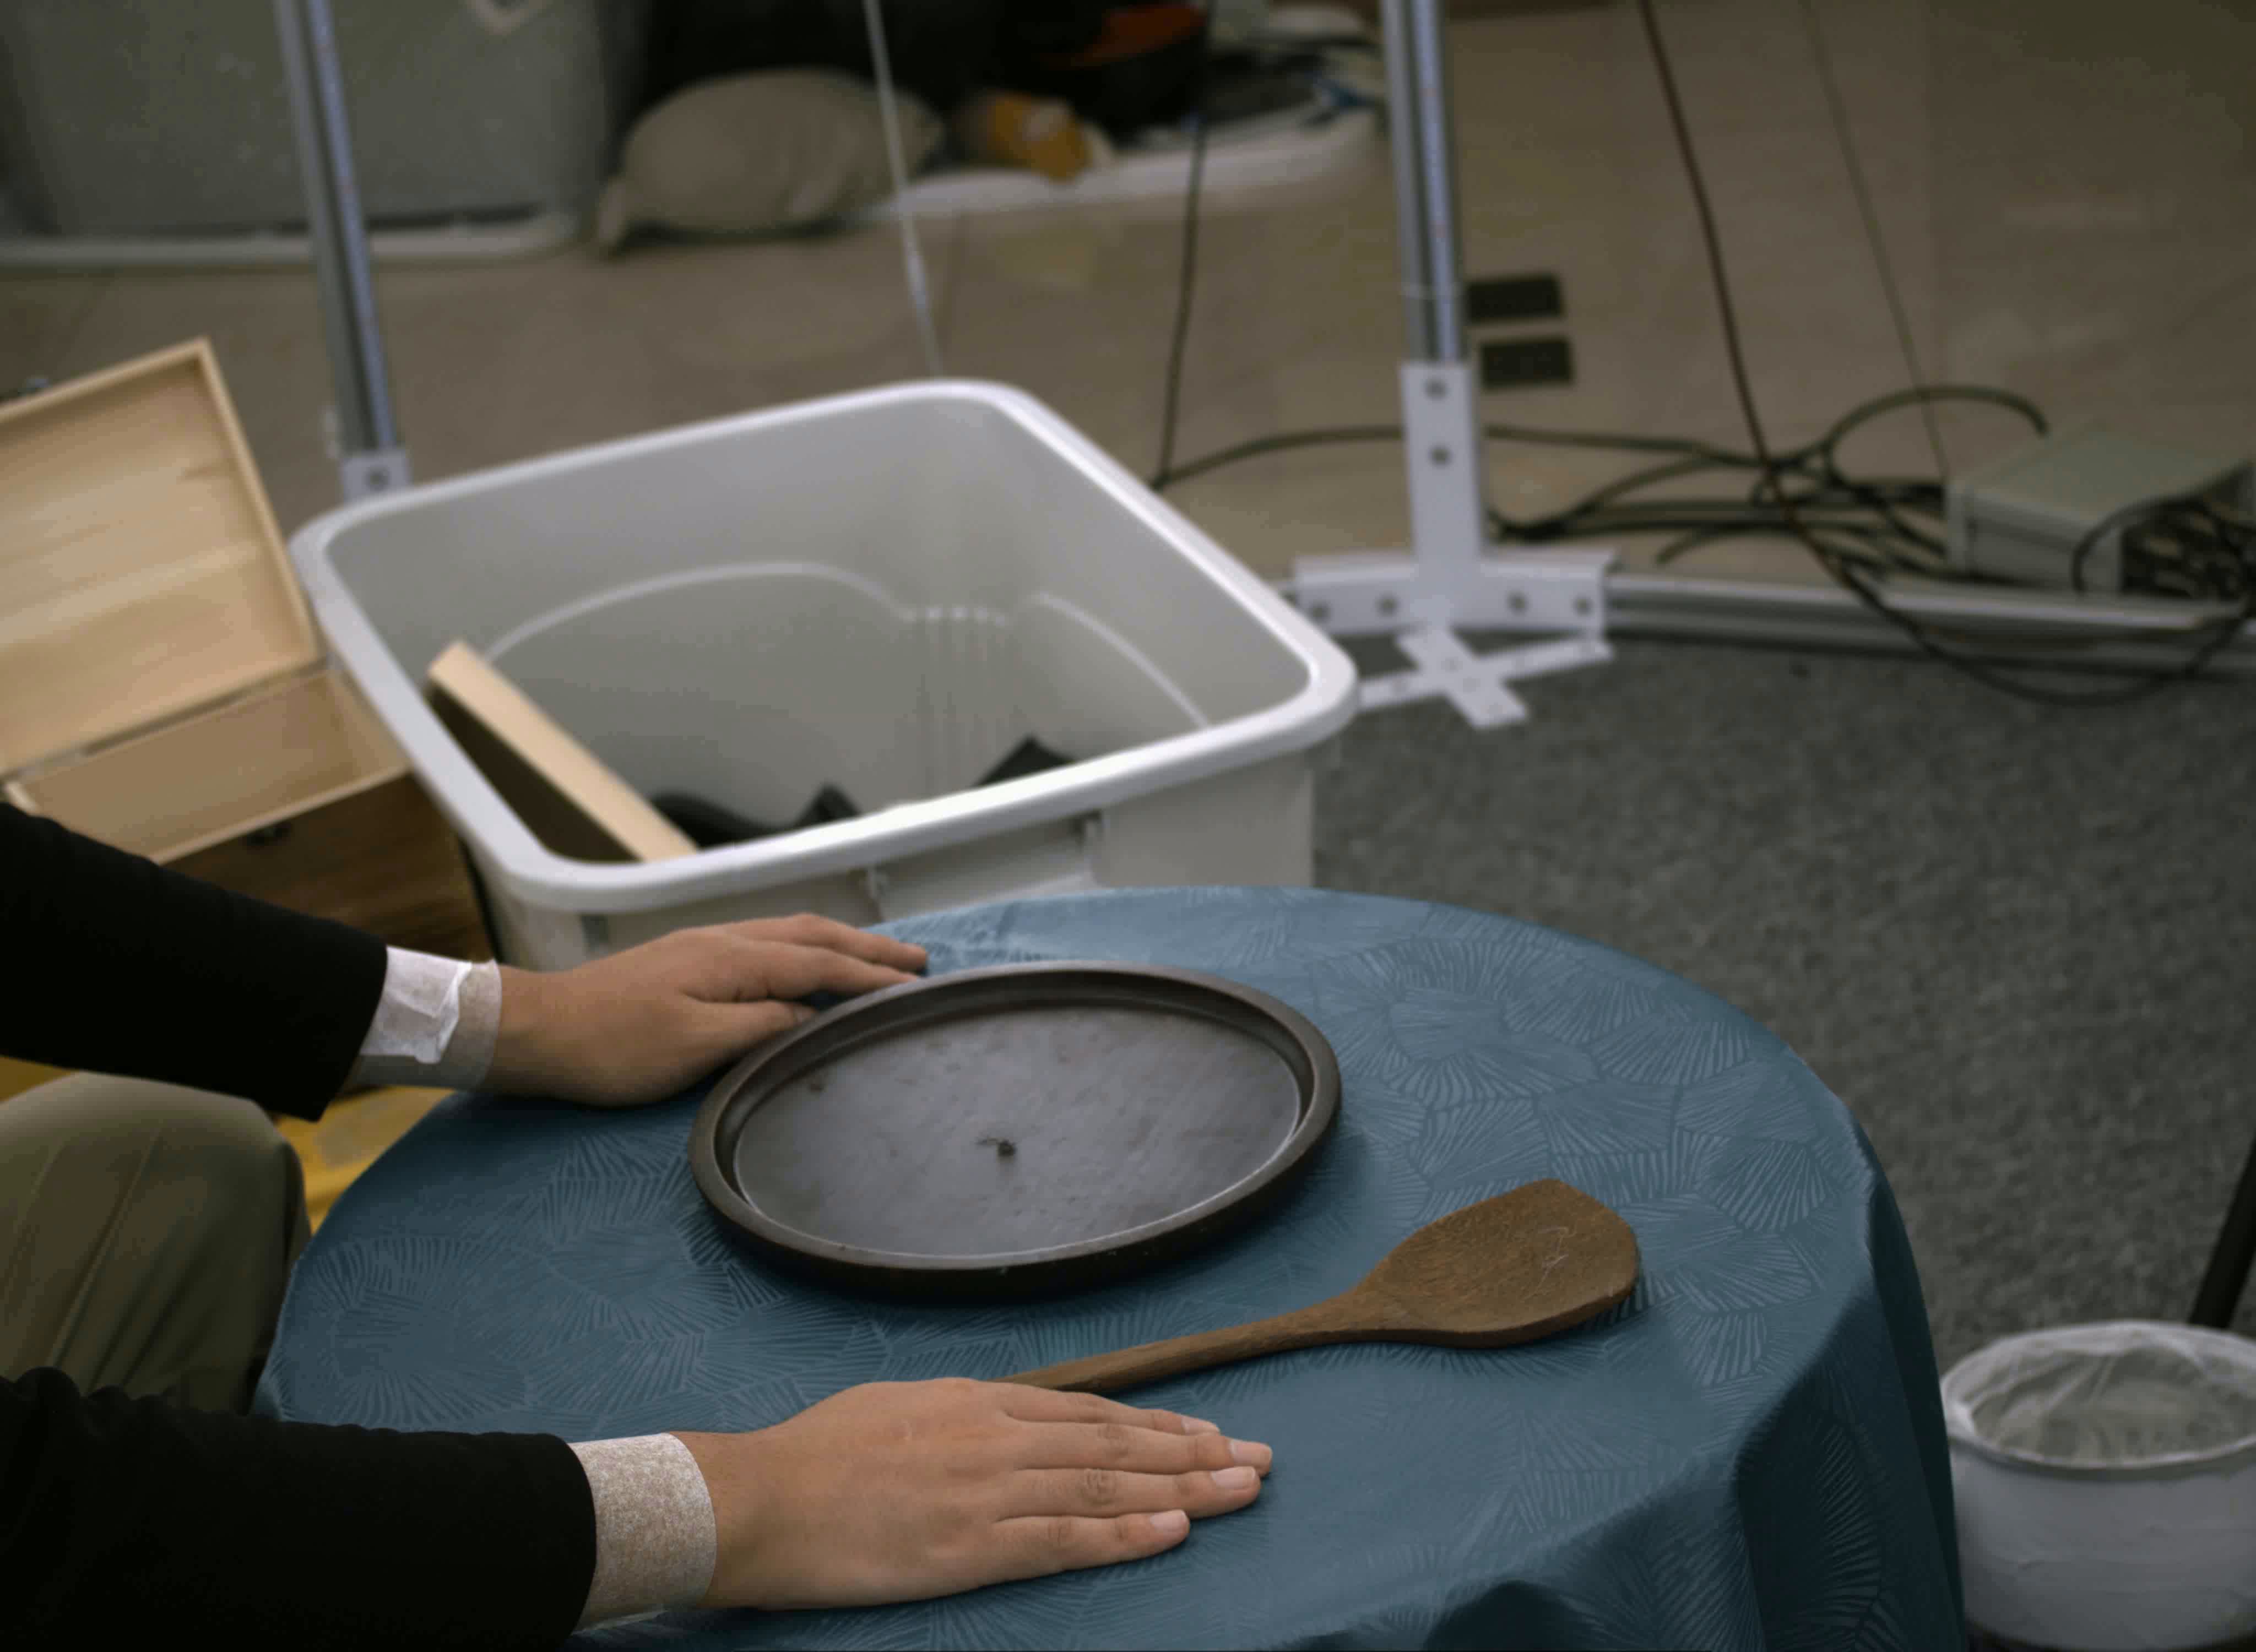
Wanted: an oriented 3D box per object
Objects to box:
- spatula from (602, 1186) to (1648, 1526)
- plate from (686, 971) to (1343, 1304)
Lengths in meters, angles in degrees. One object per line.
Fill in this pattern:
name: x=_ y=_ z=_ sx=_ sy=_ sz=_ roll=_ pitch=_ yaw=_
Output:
spatula: x=-0.001 y=0.193 z=2.016 sx=0.385 sy=0.016 sz=0.095 roll=-13 pitch=25 yaw=-13
plate: x=-0.043 y=0.118 z=2.179 sx=0.254 sy=0.029 sz=0.251 roll=-4 pitch=26 yaw=2
